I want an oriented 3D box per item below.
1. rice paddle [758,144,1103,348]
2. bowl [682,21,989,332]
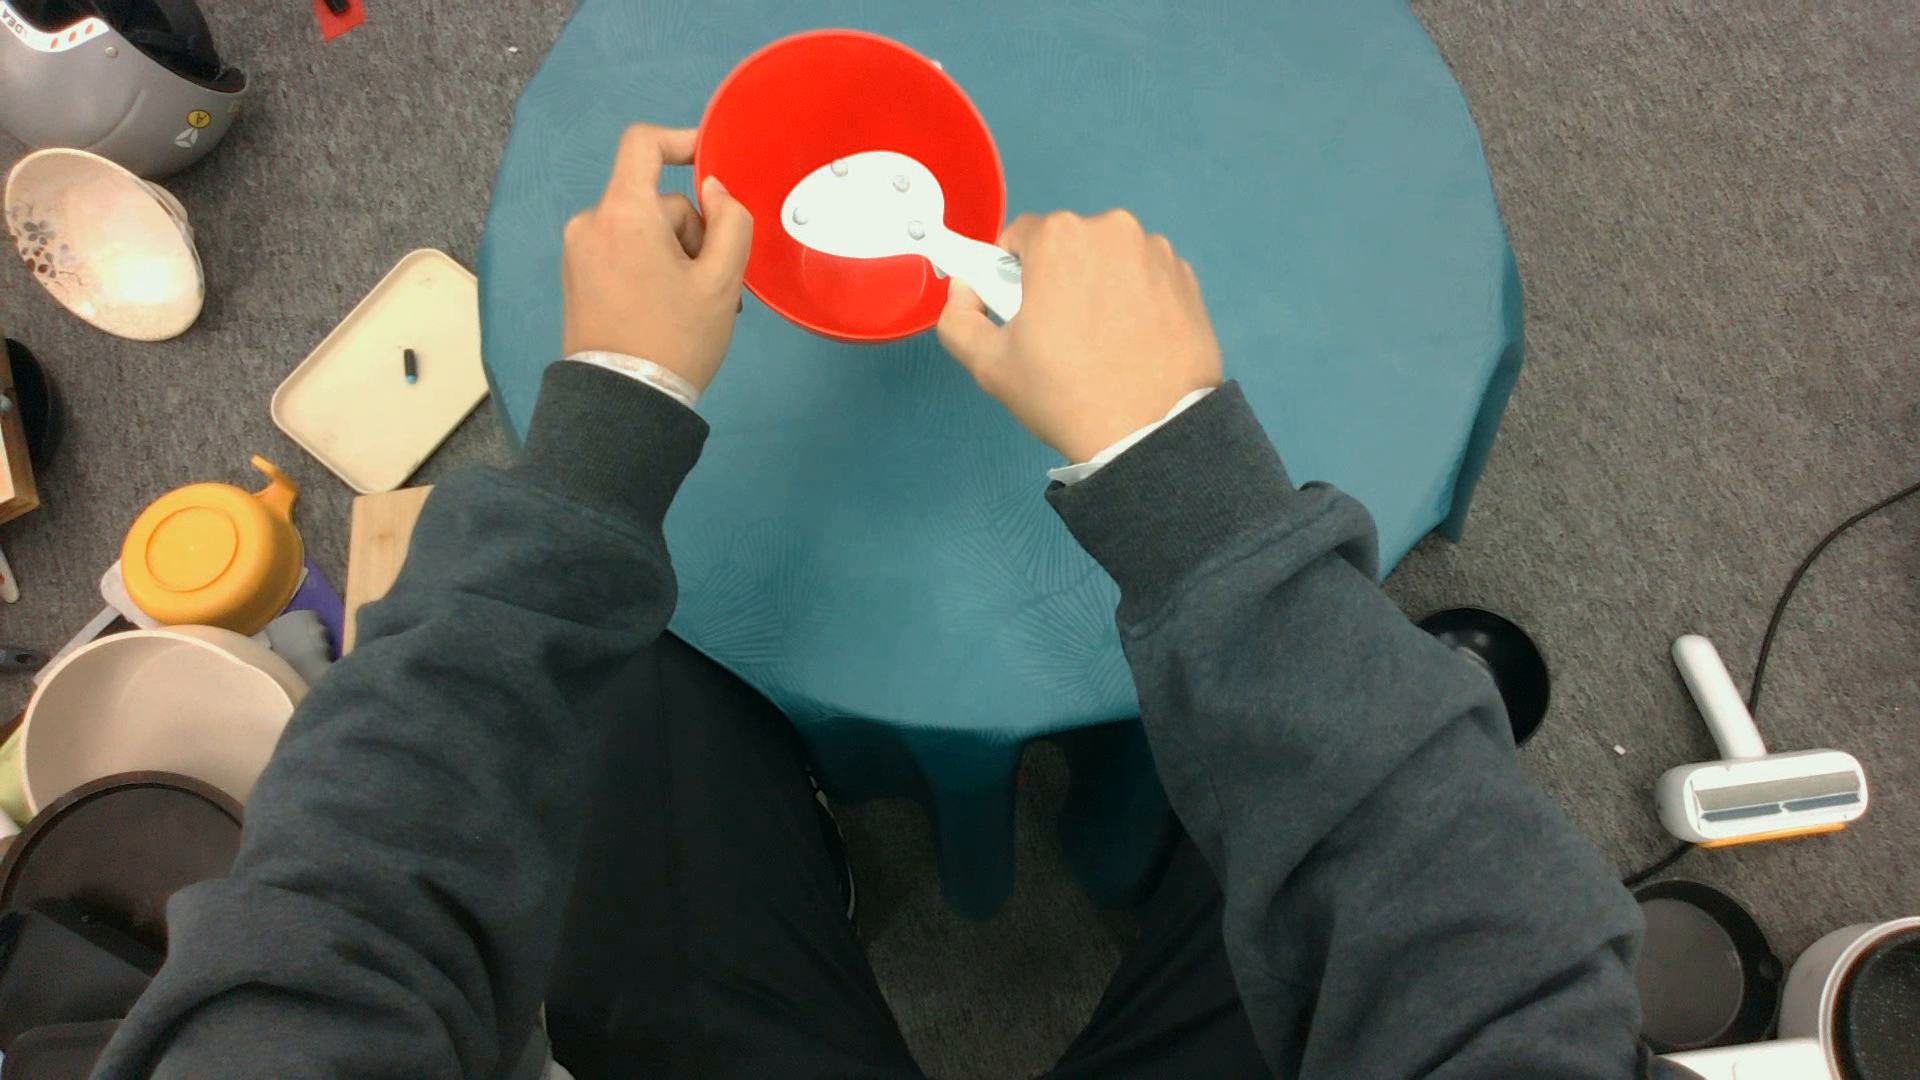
[{"bbox_3d":[-0.020,-0.135,0.598,0.069,0.029,0.205,-40,49,-18],"label":"rice paddle"},{"bbox_3d":[-0.063,-0.167,0.690,0.148,0.104,0.148,2,79,-10],"label":"bowl"}]
